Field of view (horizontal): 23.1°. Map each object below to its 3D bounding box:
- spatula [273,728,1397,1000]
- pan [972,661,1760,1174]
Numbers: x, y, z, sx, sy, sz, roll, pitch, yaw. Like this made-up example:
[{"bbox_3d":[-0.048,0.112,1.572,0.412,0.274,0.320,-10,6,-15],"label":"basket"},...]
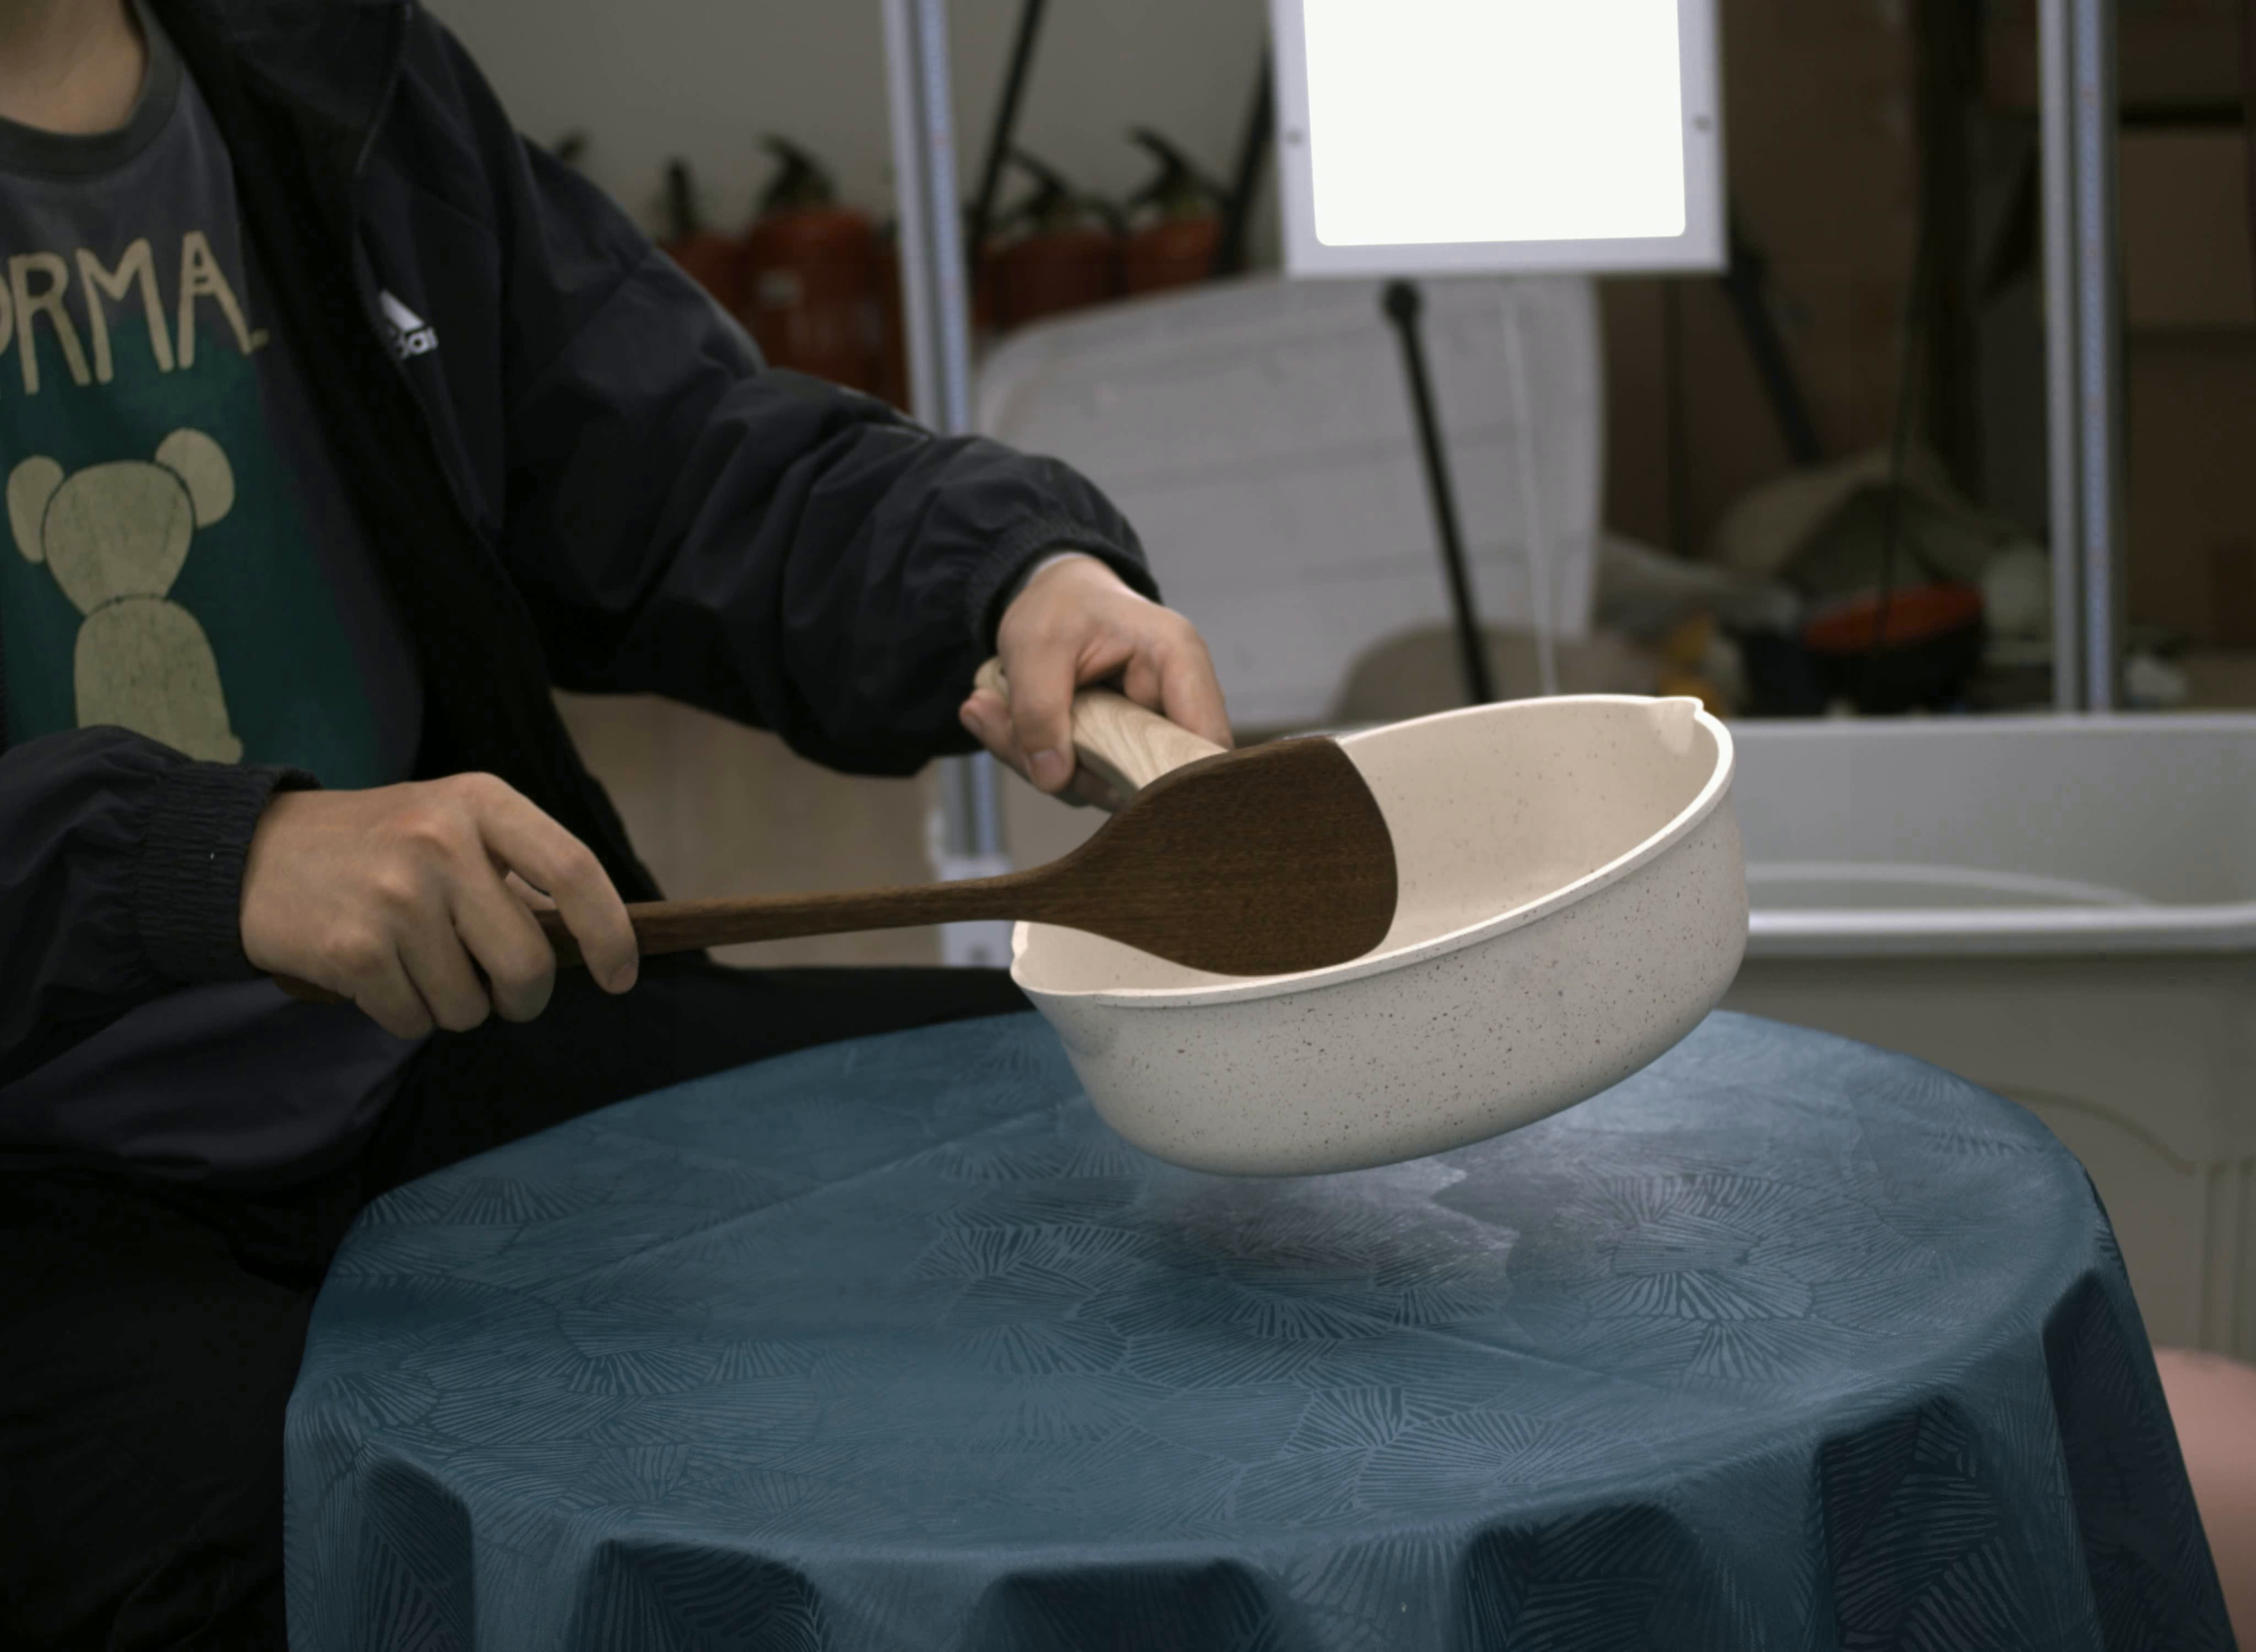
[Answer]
[{"bbox_3d":[-0.101,0.026,1.830,0.389,0.096,0.015,-6,38,14],"label":"spatula"},{"bbox_3d":[0.056,0.016,1.928,0.259,0.102,0.441,-25,18,-18],"label":"pan"}]
